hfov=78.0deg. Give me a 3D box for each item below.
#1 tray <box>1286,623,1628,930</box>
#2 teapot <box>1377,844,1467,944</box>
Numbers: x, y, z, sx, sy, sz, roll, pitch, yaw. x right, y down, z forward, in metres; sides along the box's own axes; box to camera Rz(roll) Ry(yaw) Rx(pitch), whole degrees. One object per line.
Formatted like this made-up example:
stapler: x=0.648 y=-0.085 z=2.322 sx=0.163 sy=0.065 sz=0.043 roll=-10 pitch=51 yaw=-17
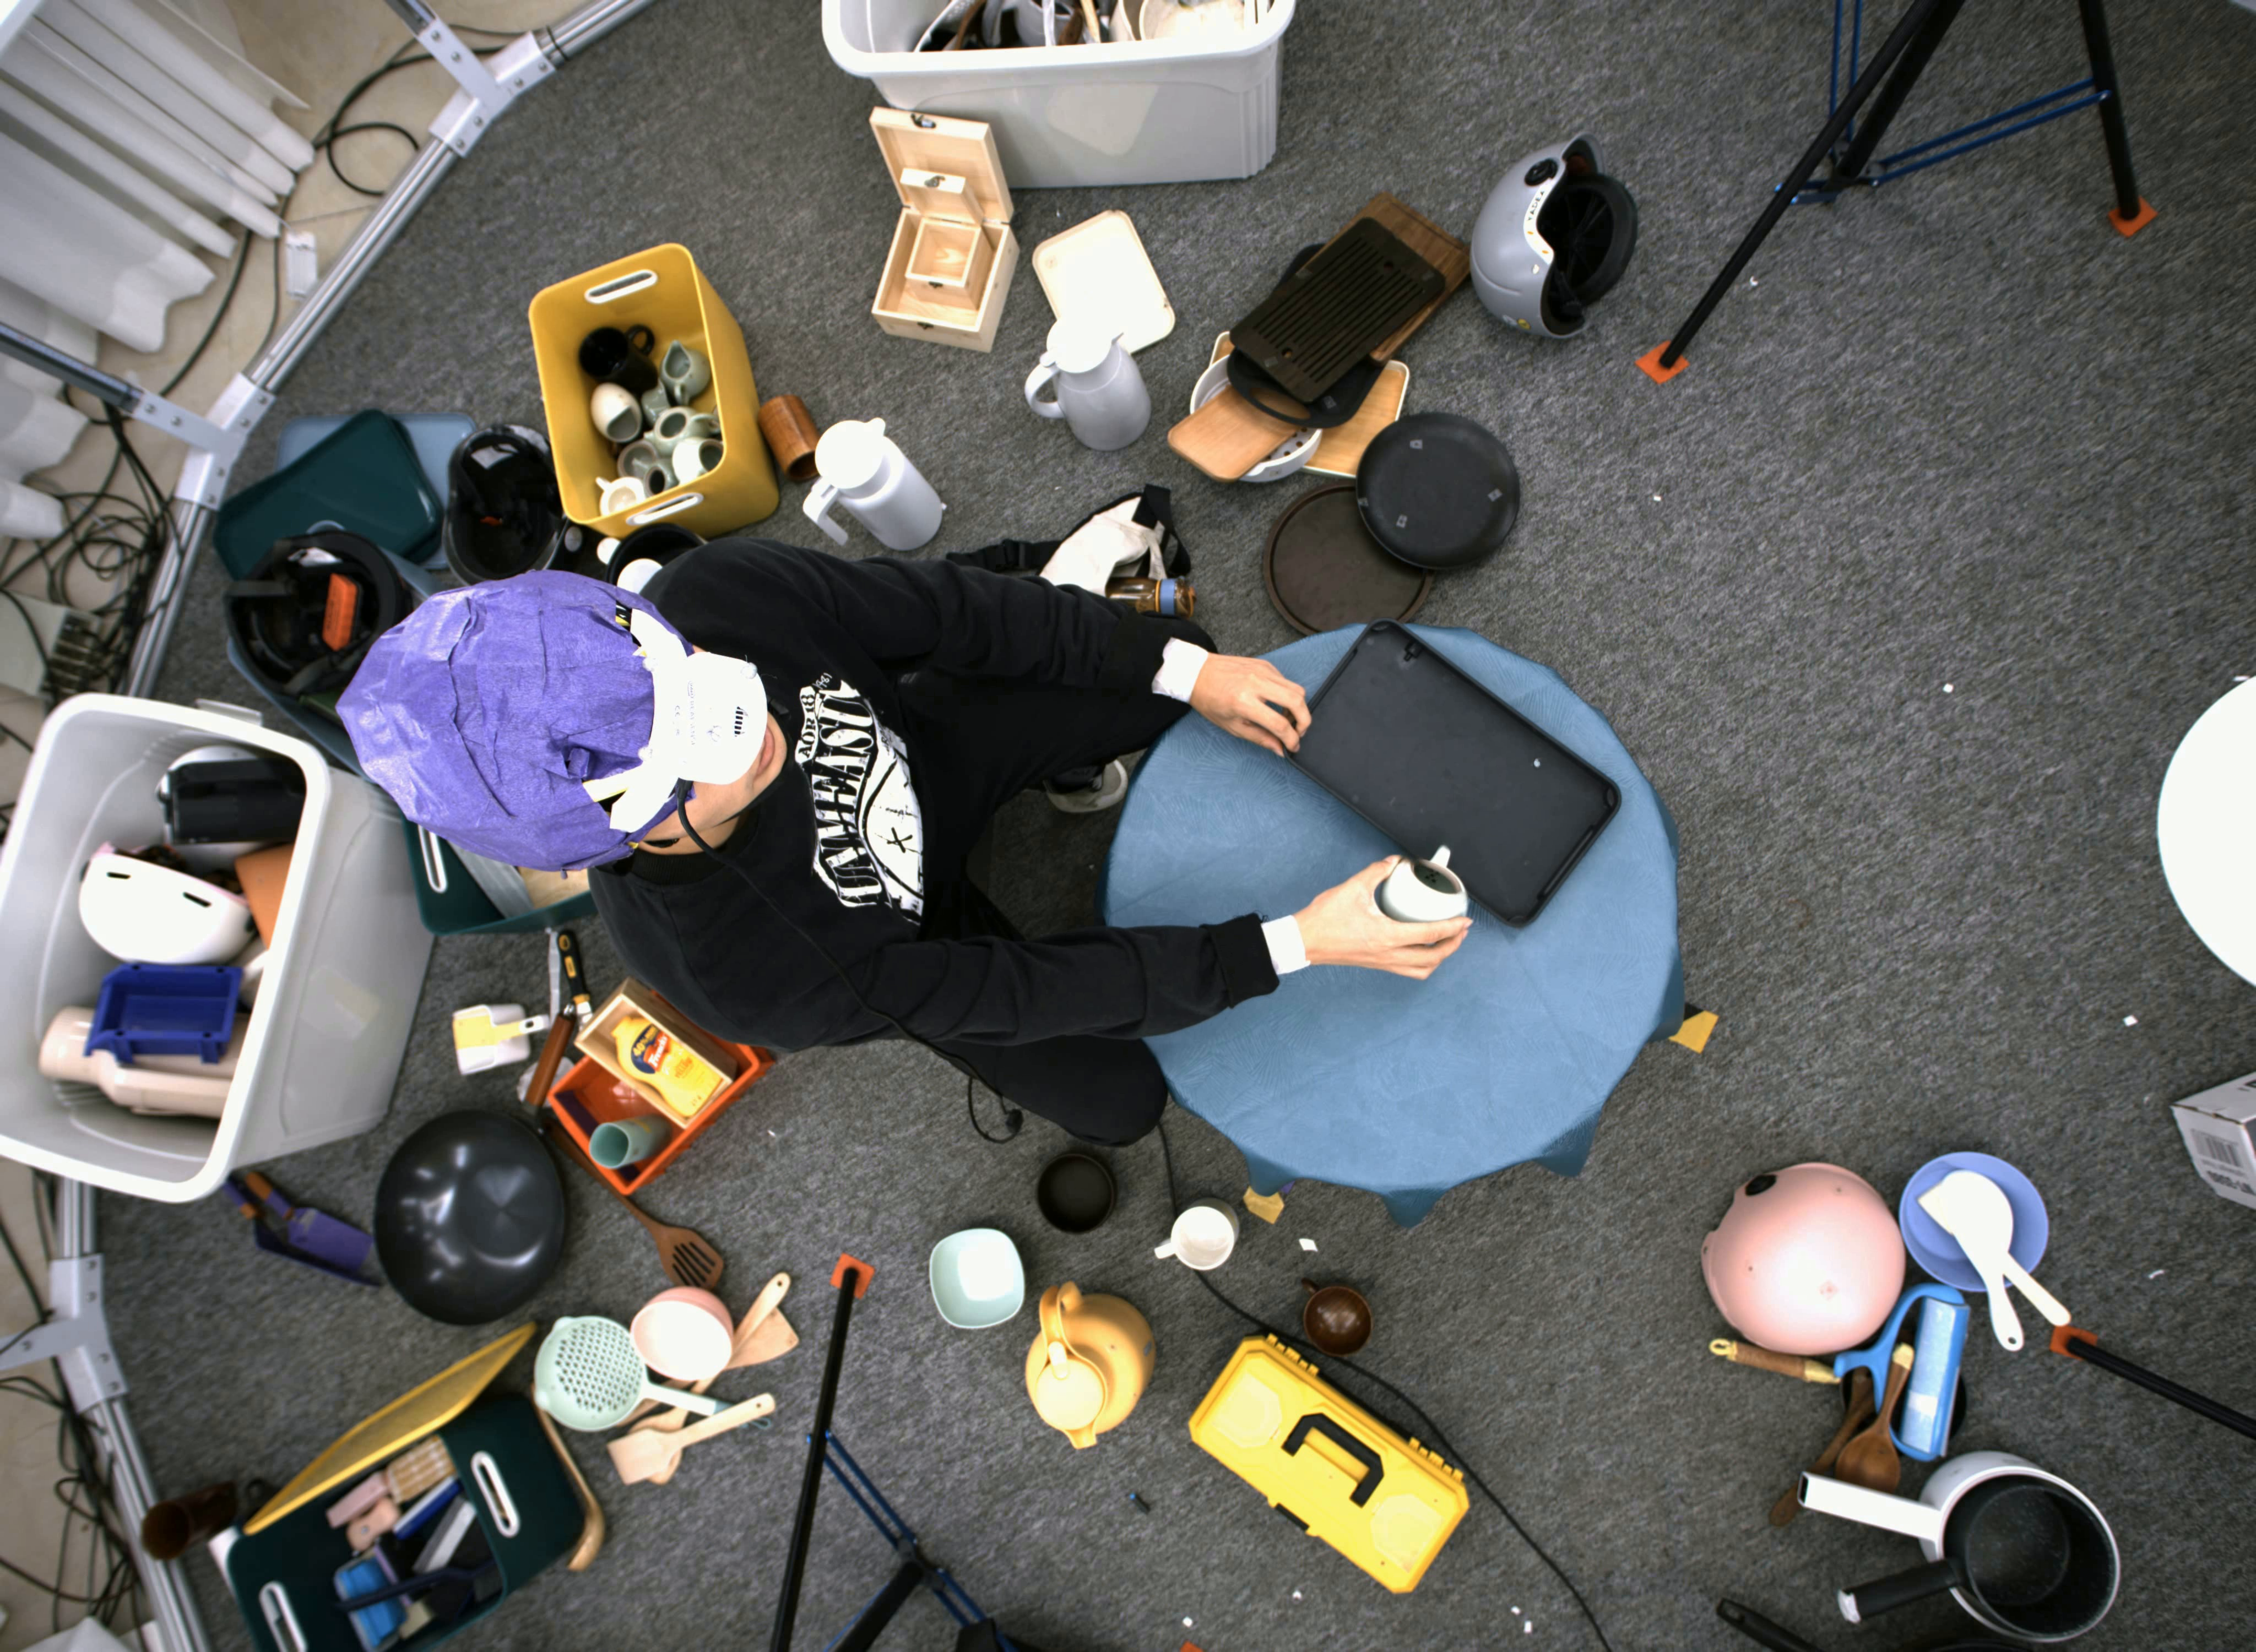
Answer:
tray: x=0.337 y=-0.053 z=1.419 sx=0.317 sy=0.037 sz=0.185 roll=36 pitch=95 yaw=4
teapot: x=0.289 y=0.072 z=1.355 sx=0.088 sy=0.140 sz=0.076 roll=28 pitch=121 yaw=10
